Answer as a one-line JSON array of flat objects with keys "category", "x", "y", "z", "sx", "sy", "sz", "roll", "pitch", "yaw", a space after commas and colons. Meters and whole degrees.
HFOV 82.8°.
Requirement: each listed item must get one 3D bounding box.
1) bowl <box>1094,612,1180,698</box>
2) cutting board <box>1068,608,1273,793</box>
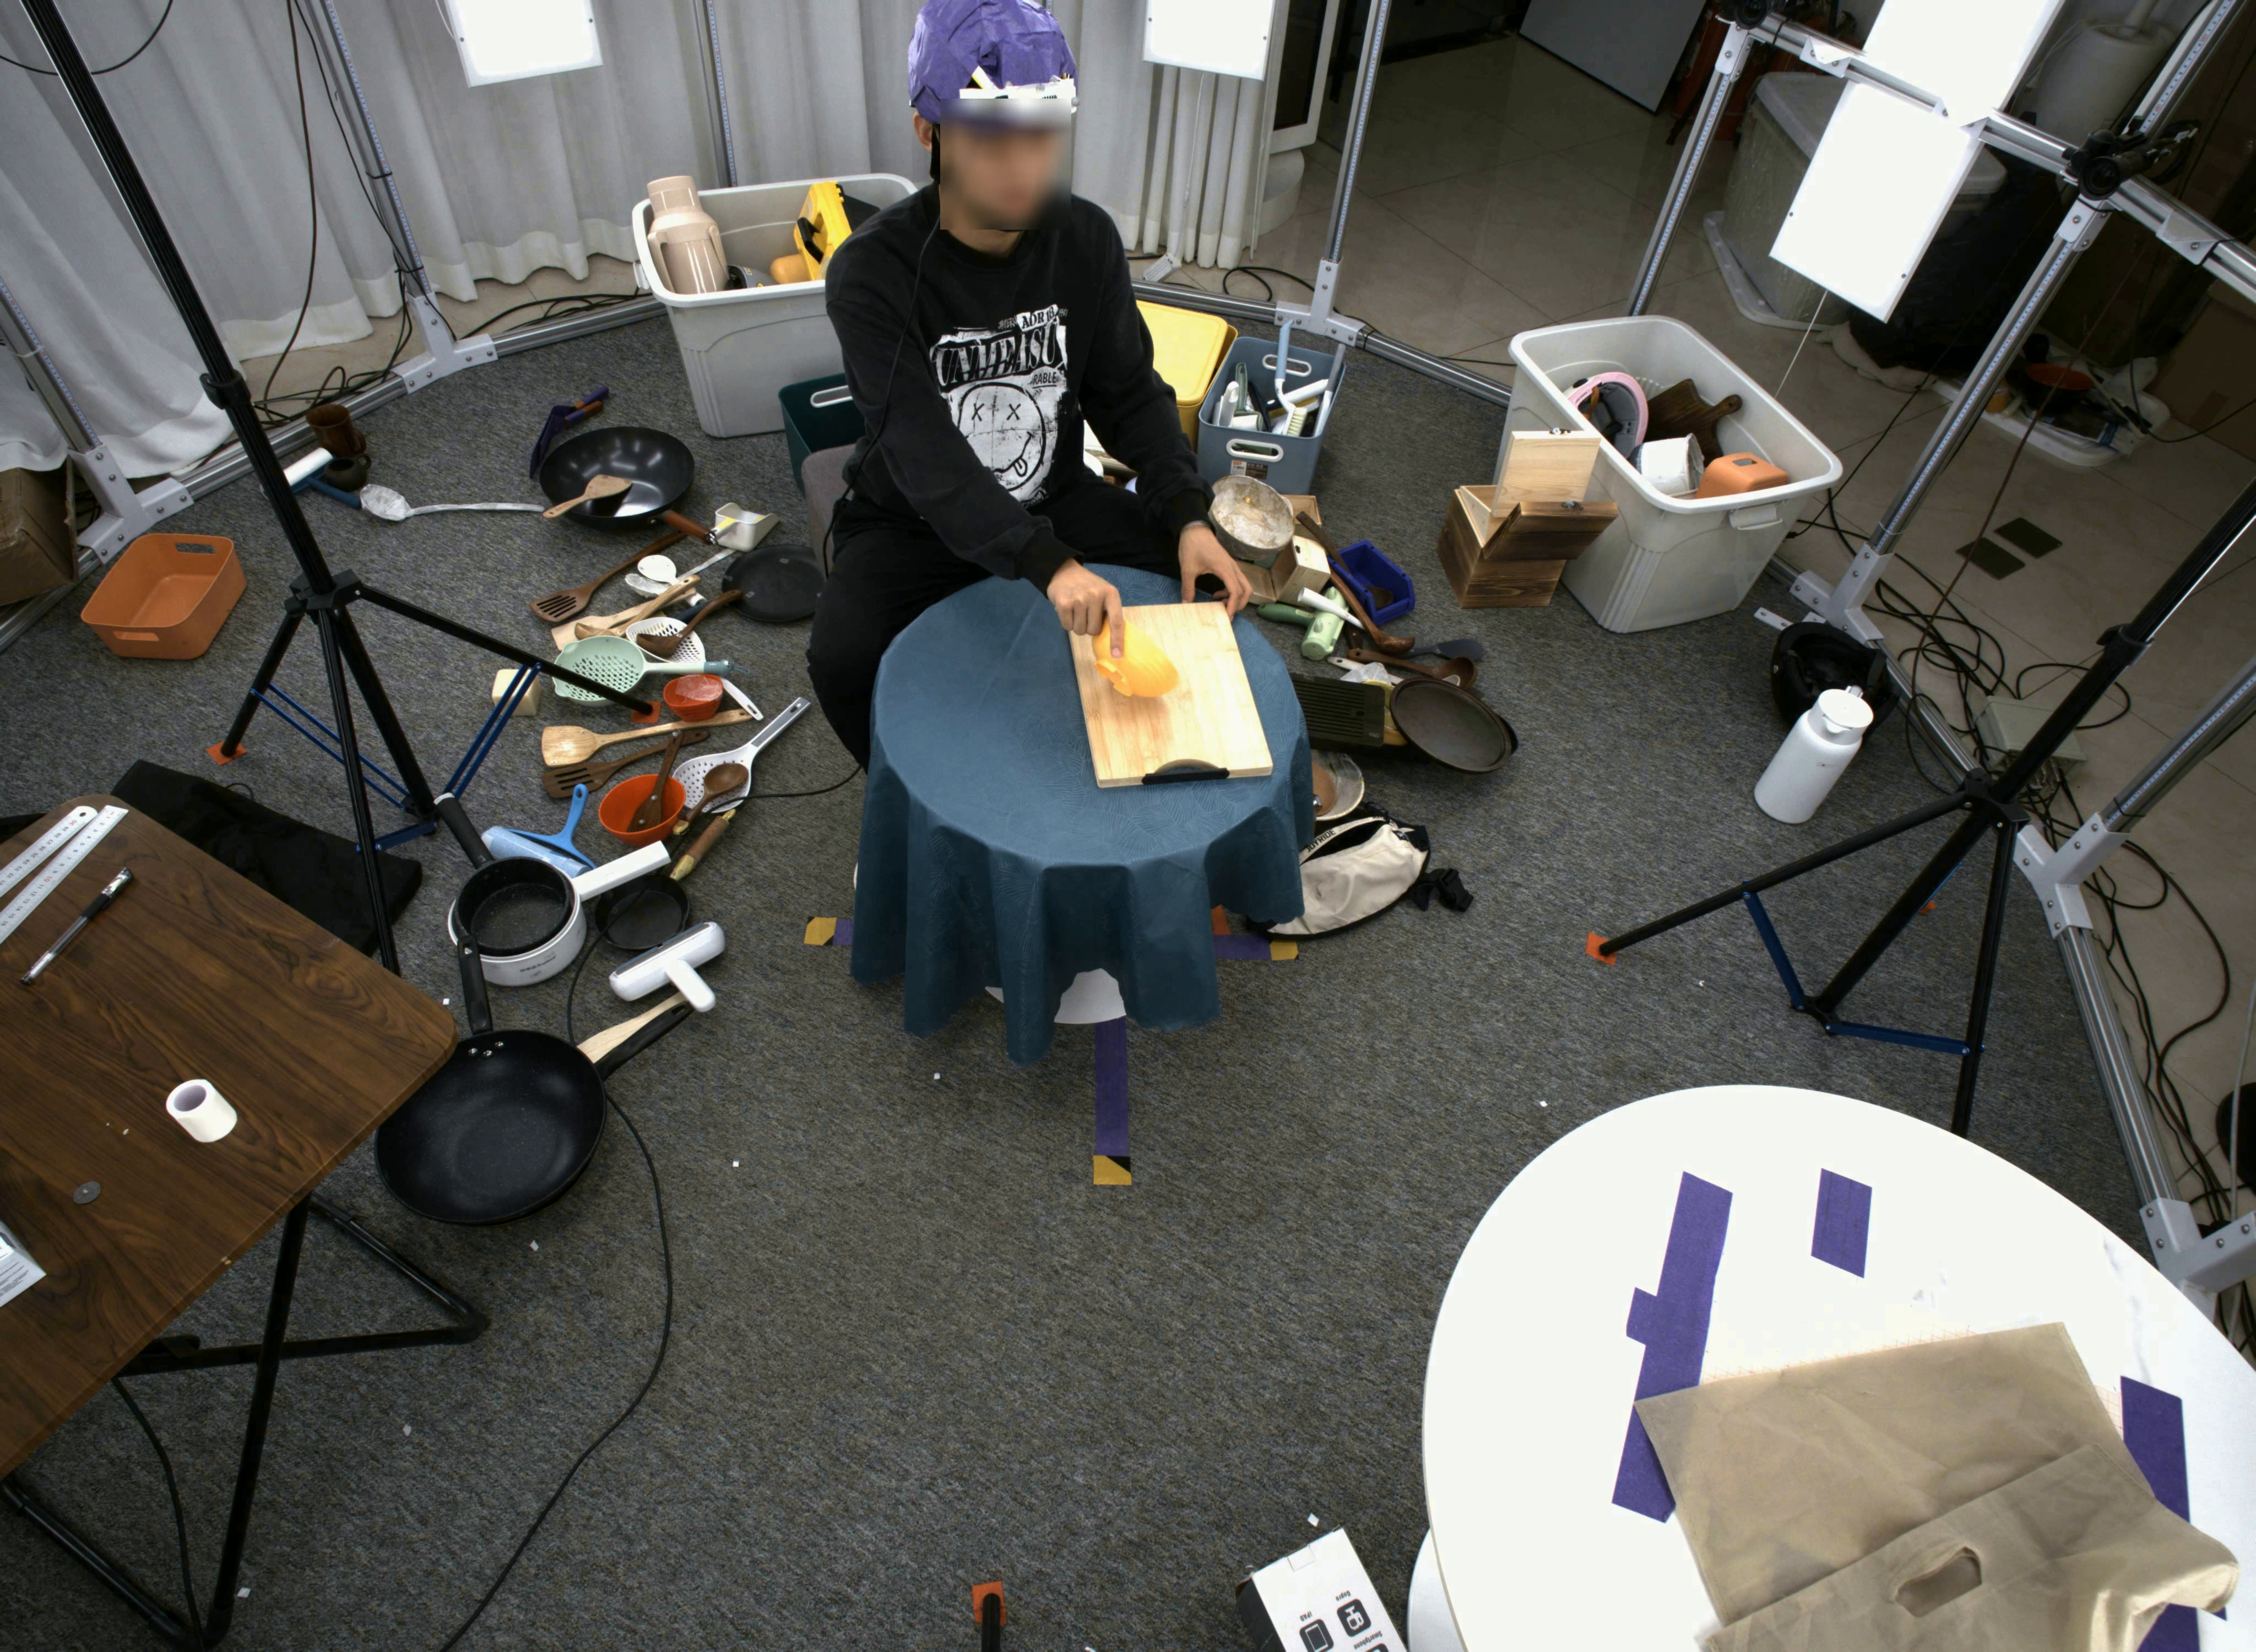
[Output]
[{"category": "bowl", "x": 0.000, "y": -0.221, "z": 1.757, "sx": 0.147, "sy": 0.142, "sz": 0.060, "roll": 39, "pitch": 81, "yaw": 25}, {"category": "cutting board", "x": 0.053, "y": -0.190, "z": 1.843, "sx": 0.250, "sy": 0.023, "sz": 0.357, "roll": -6, "pitch": 49, "yaw": -8}]
